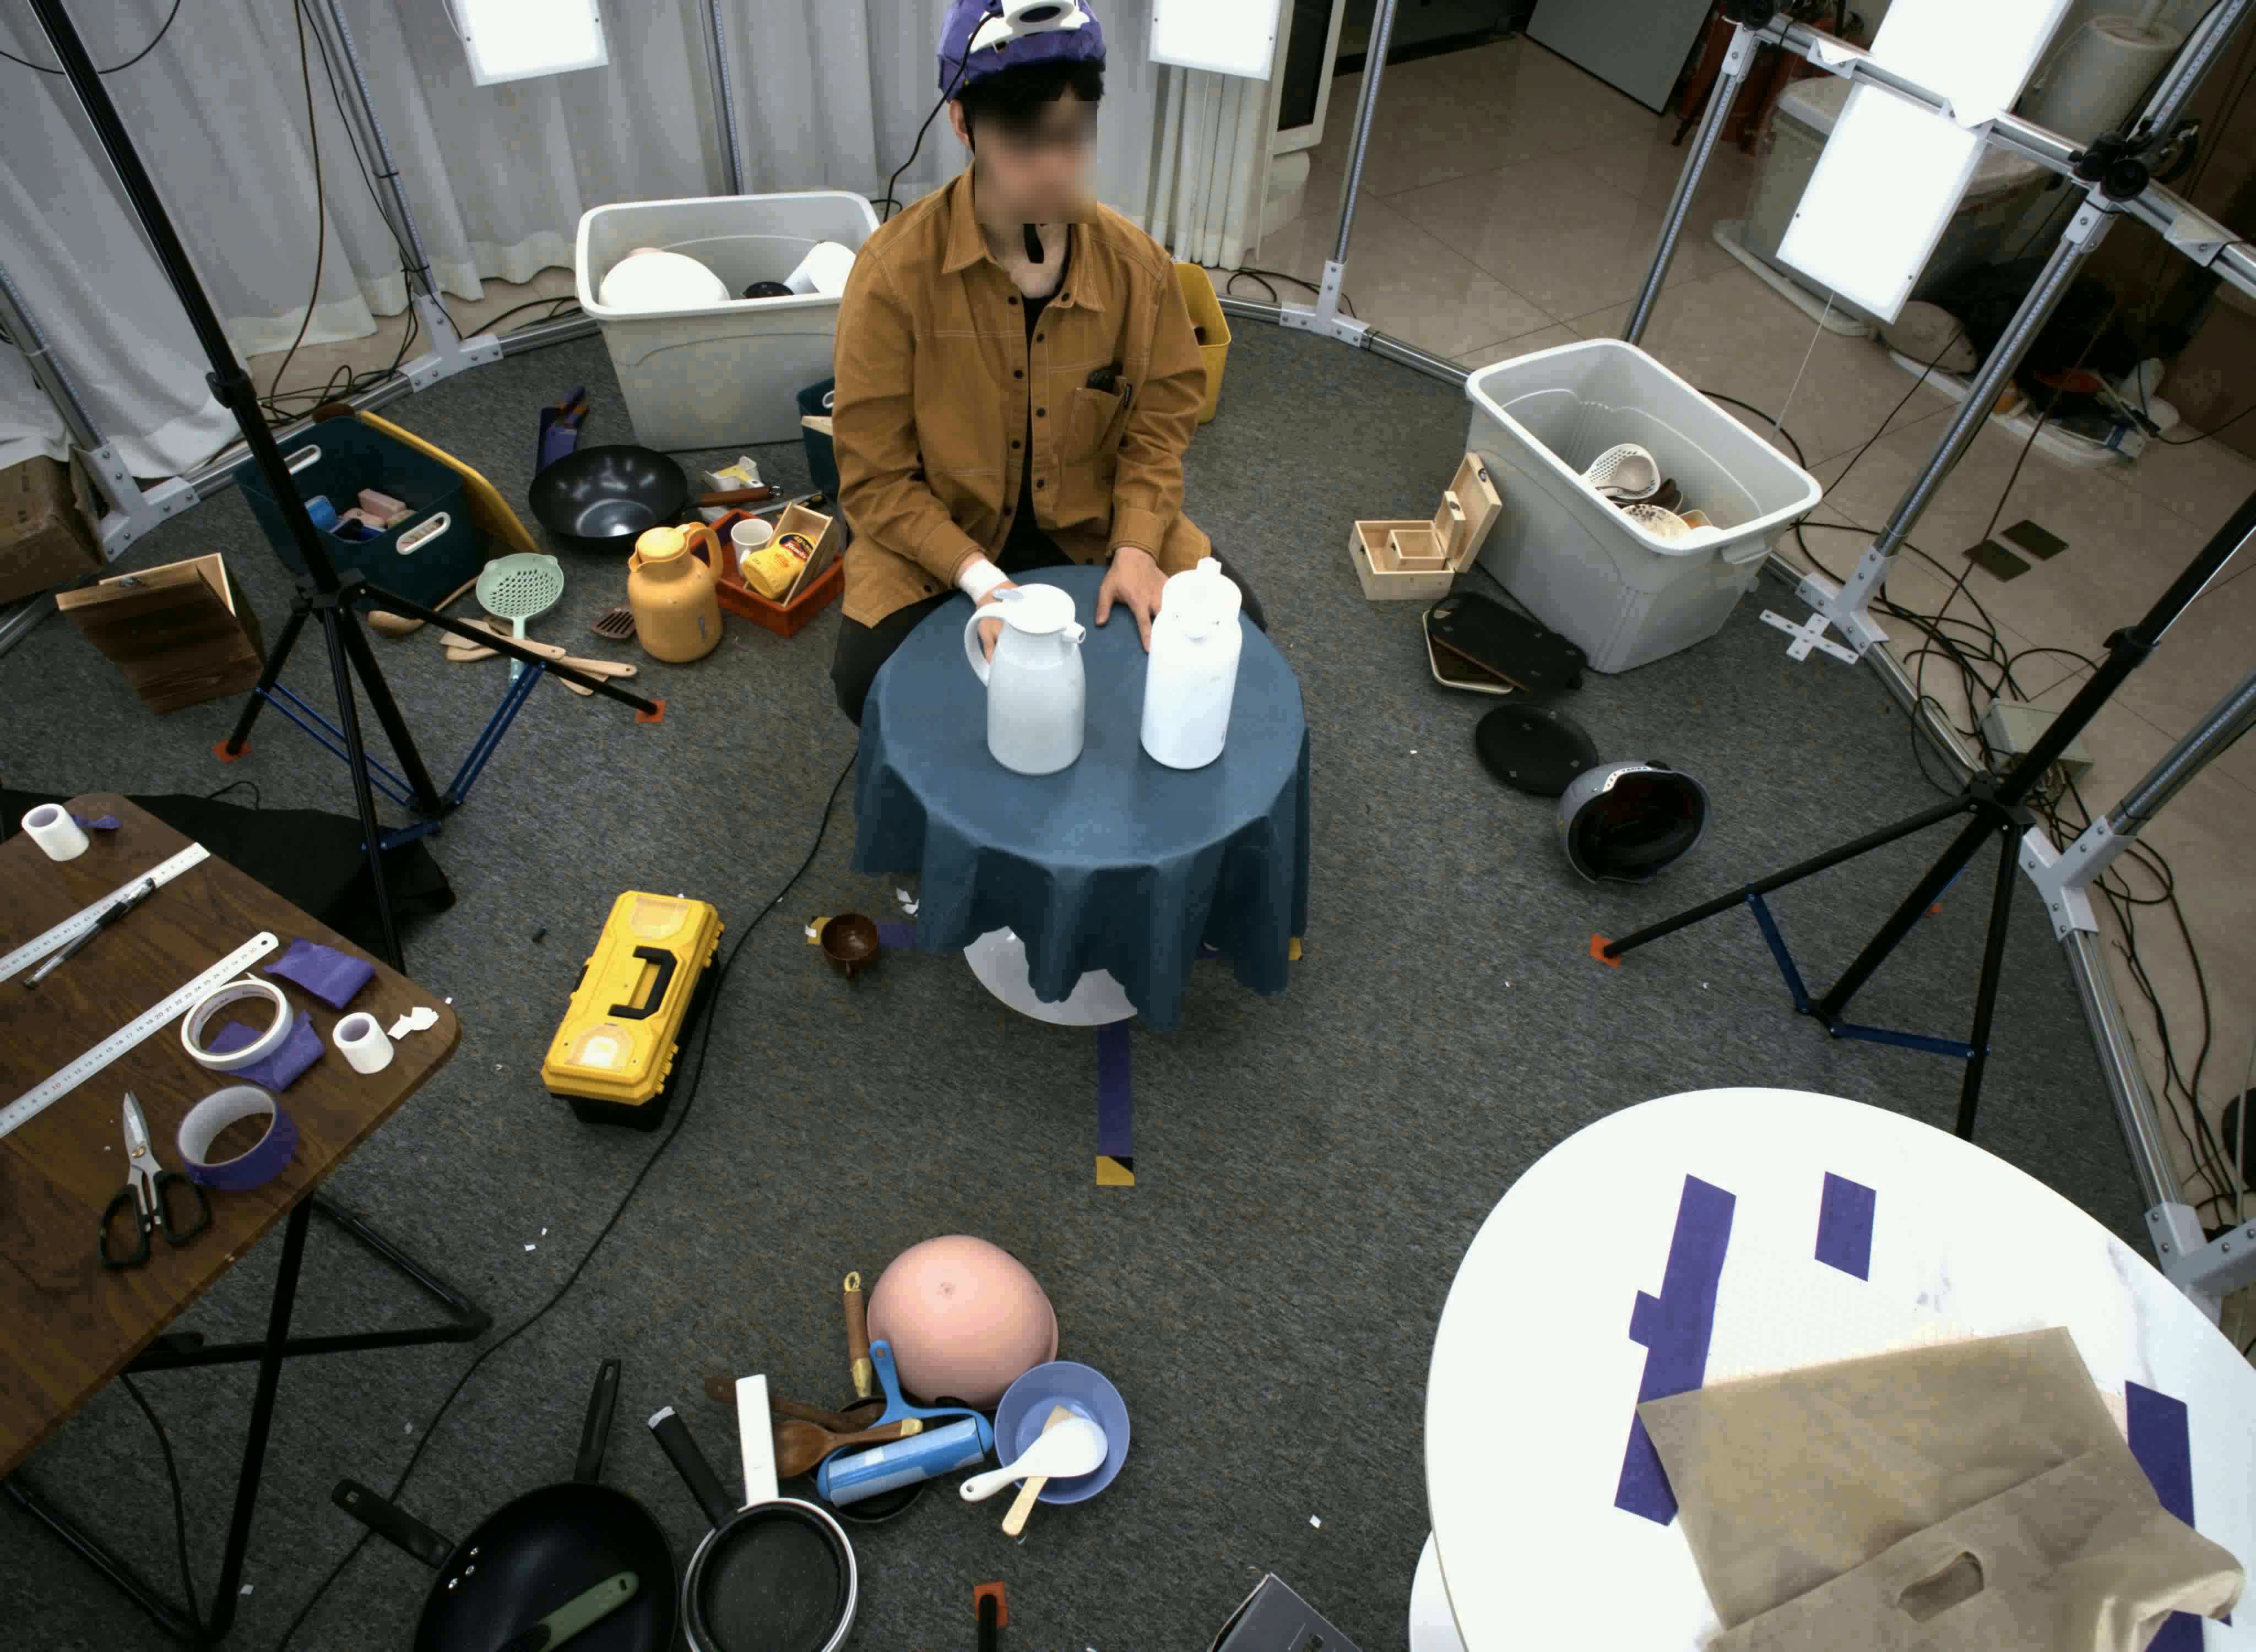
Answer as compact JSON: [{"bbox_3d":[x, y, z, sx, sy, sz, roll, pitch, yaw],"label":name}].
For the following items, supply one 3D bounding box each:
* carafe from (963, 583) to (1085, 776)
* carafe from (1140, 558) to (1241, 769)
[{"bbox_3d":[-0.138,-0.202,1.676,0.169,0.242,0.135,21,51,15],"label":"carafe"},{"bbox_3d":[0.084,-0.215,1.689,0.124,0.262,0.177,8,49,5],"label":"carafe"}]
